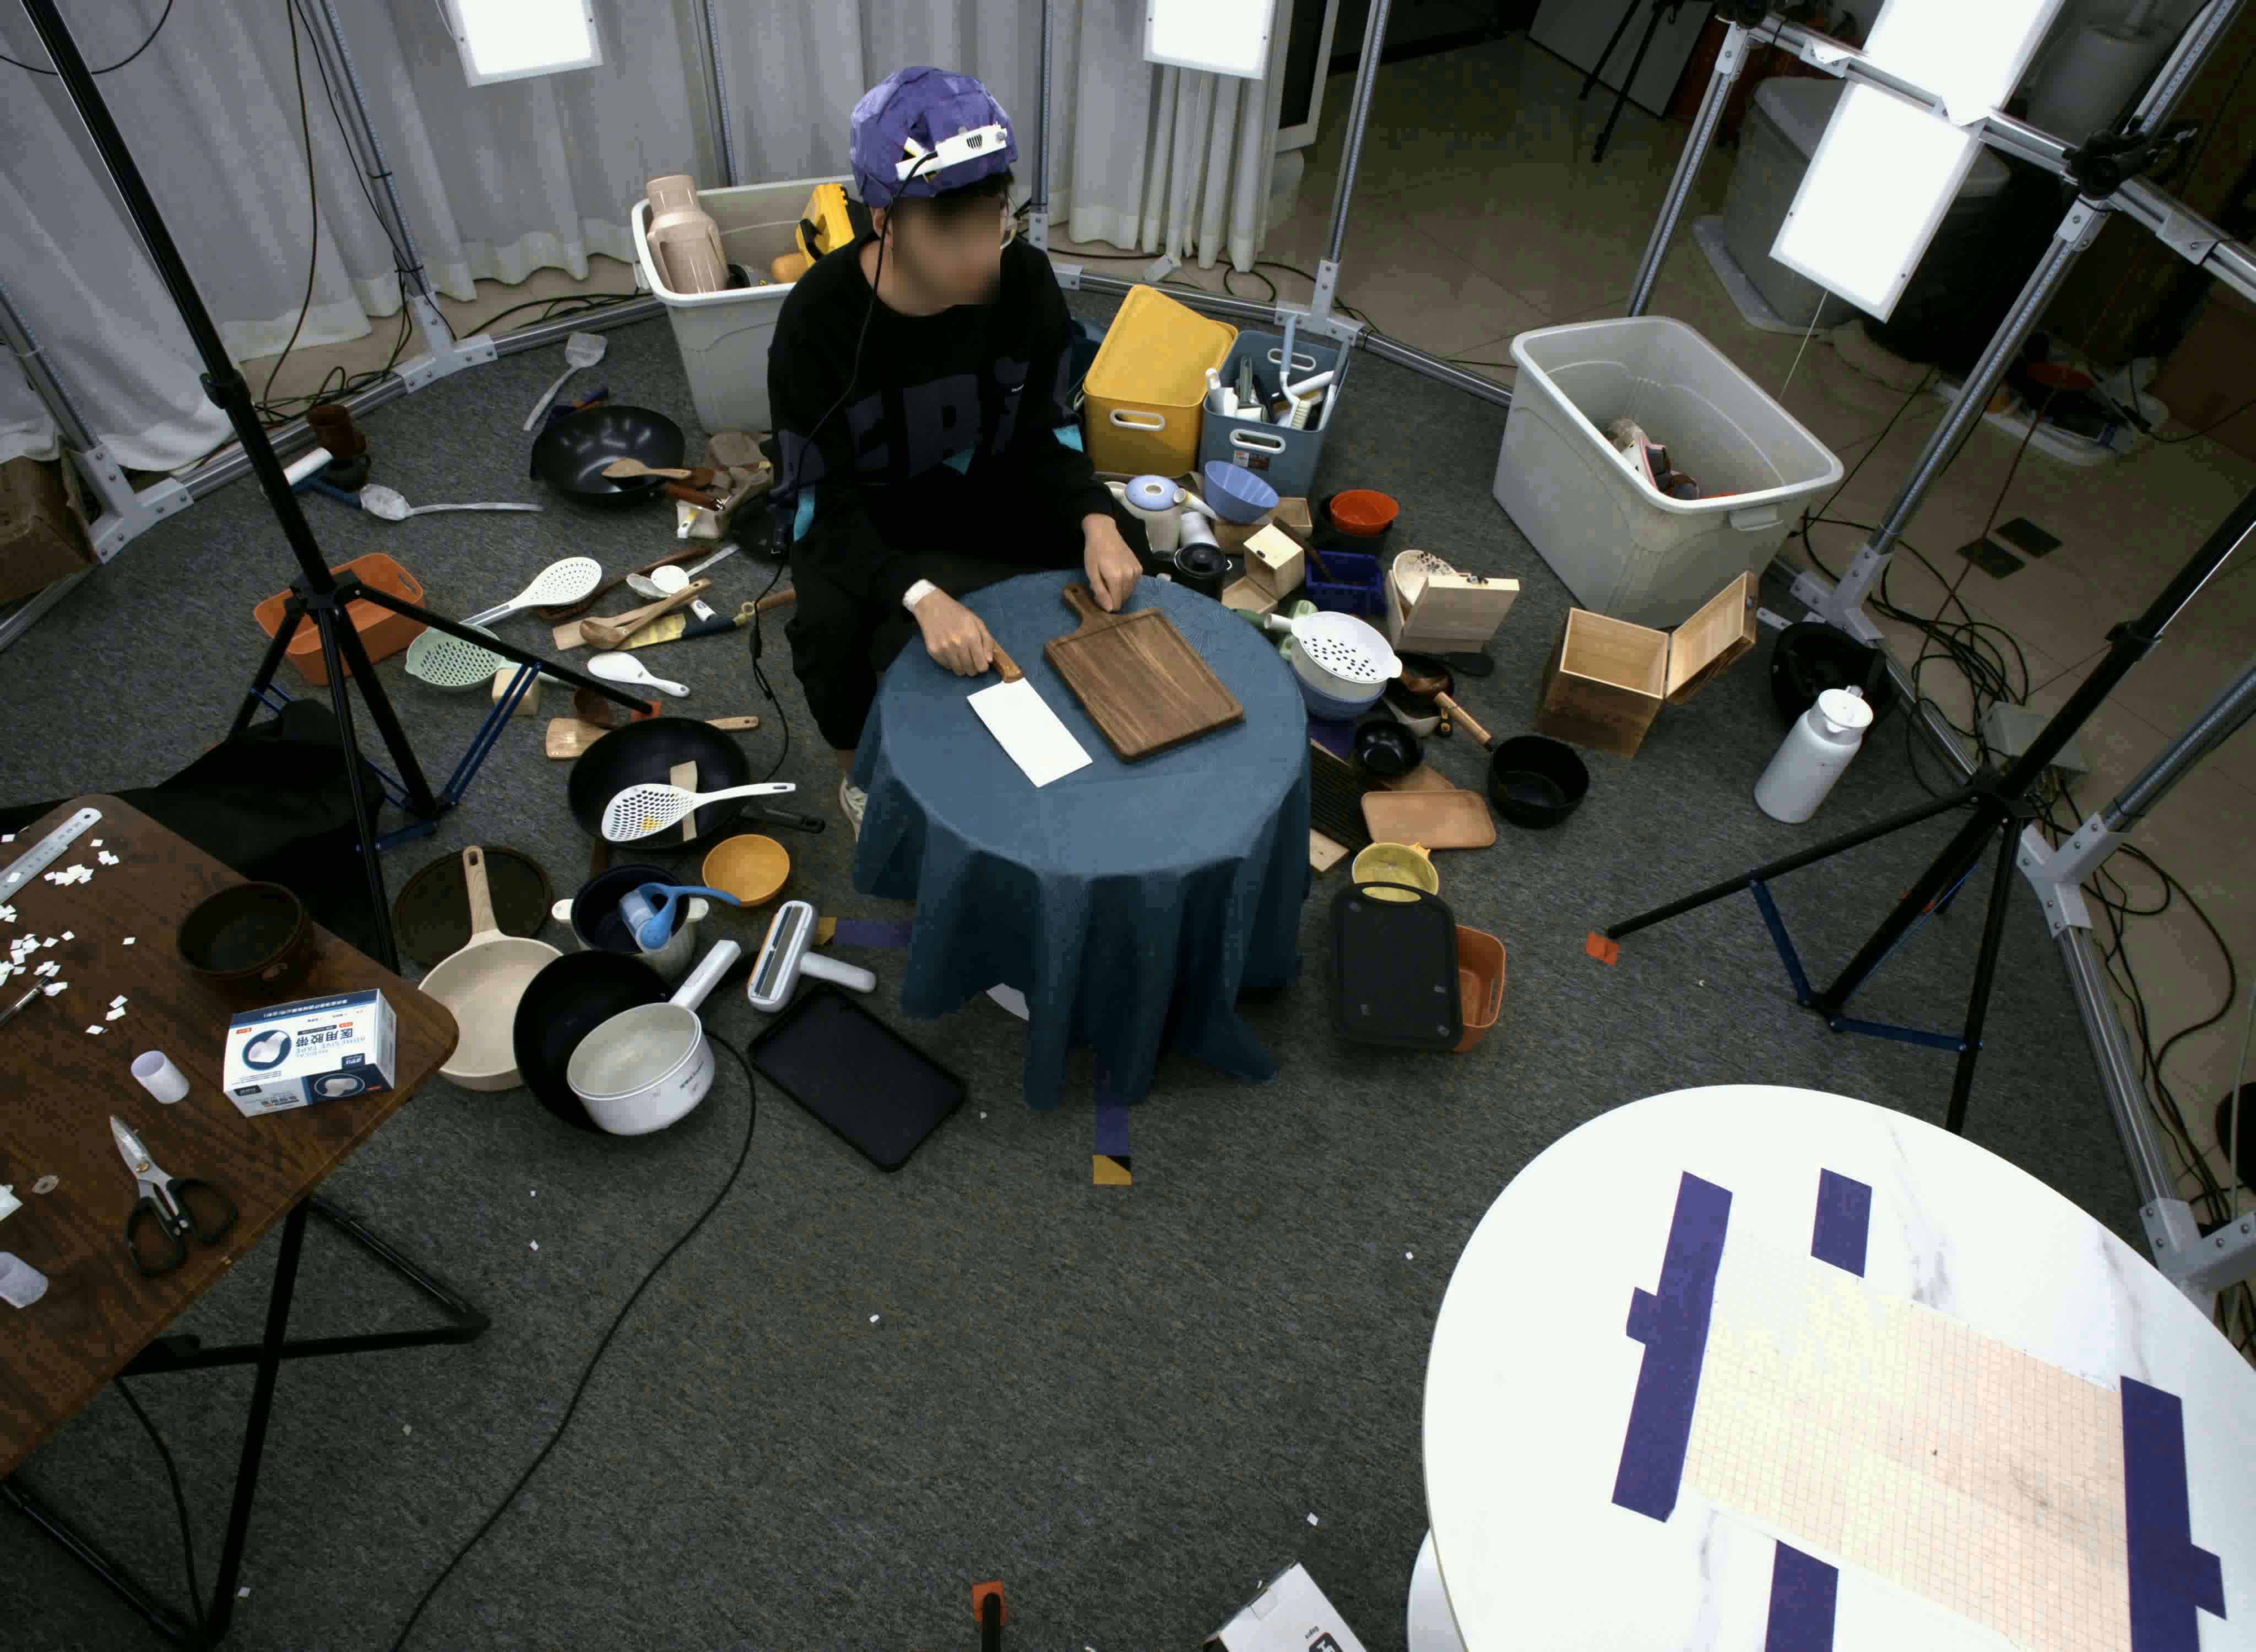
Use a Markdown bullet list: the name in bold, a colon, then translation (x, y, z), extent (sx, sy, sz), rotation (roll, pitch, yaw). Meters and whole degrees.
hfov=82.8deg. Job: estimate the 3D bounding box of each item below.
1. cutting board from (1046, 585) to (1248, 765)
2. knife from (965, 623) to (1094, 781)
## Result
- **cutting board**: translation (0.000, -0.240, 1.864), extent (0.201, 0.022, 0.360), rotation (-21, 54, -21)
- **knife**: translation (-0.163, -0.174, 1.798), extent (0.093, 0.020, 0.312), rotation (-26, 58, -22)
